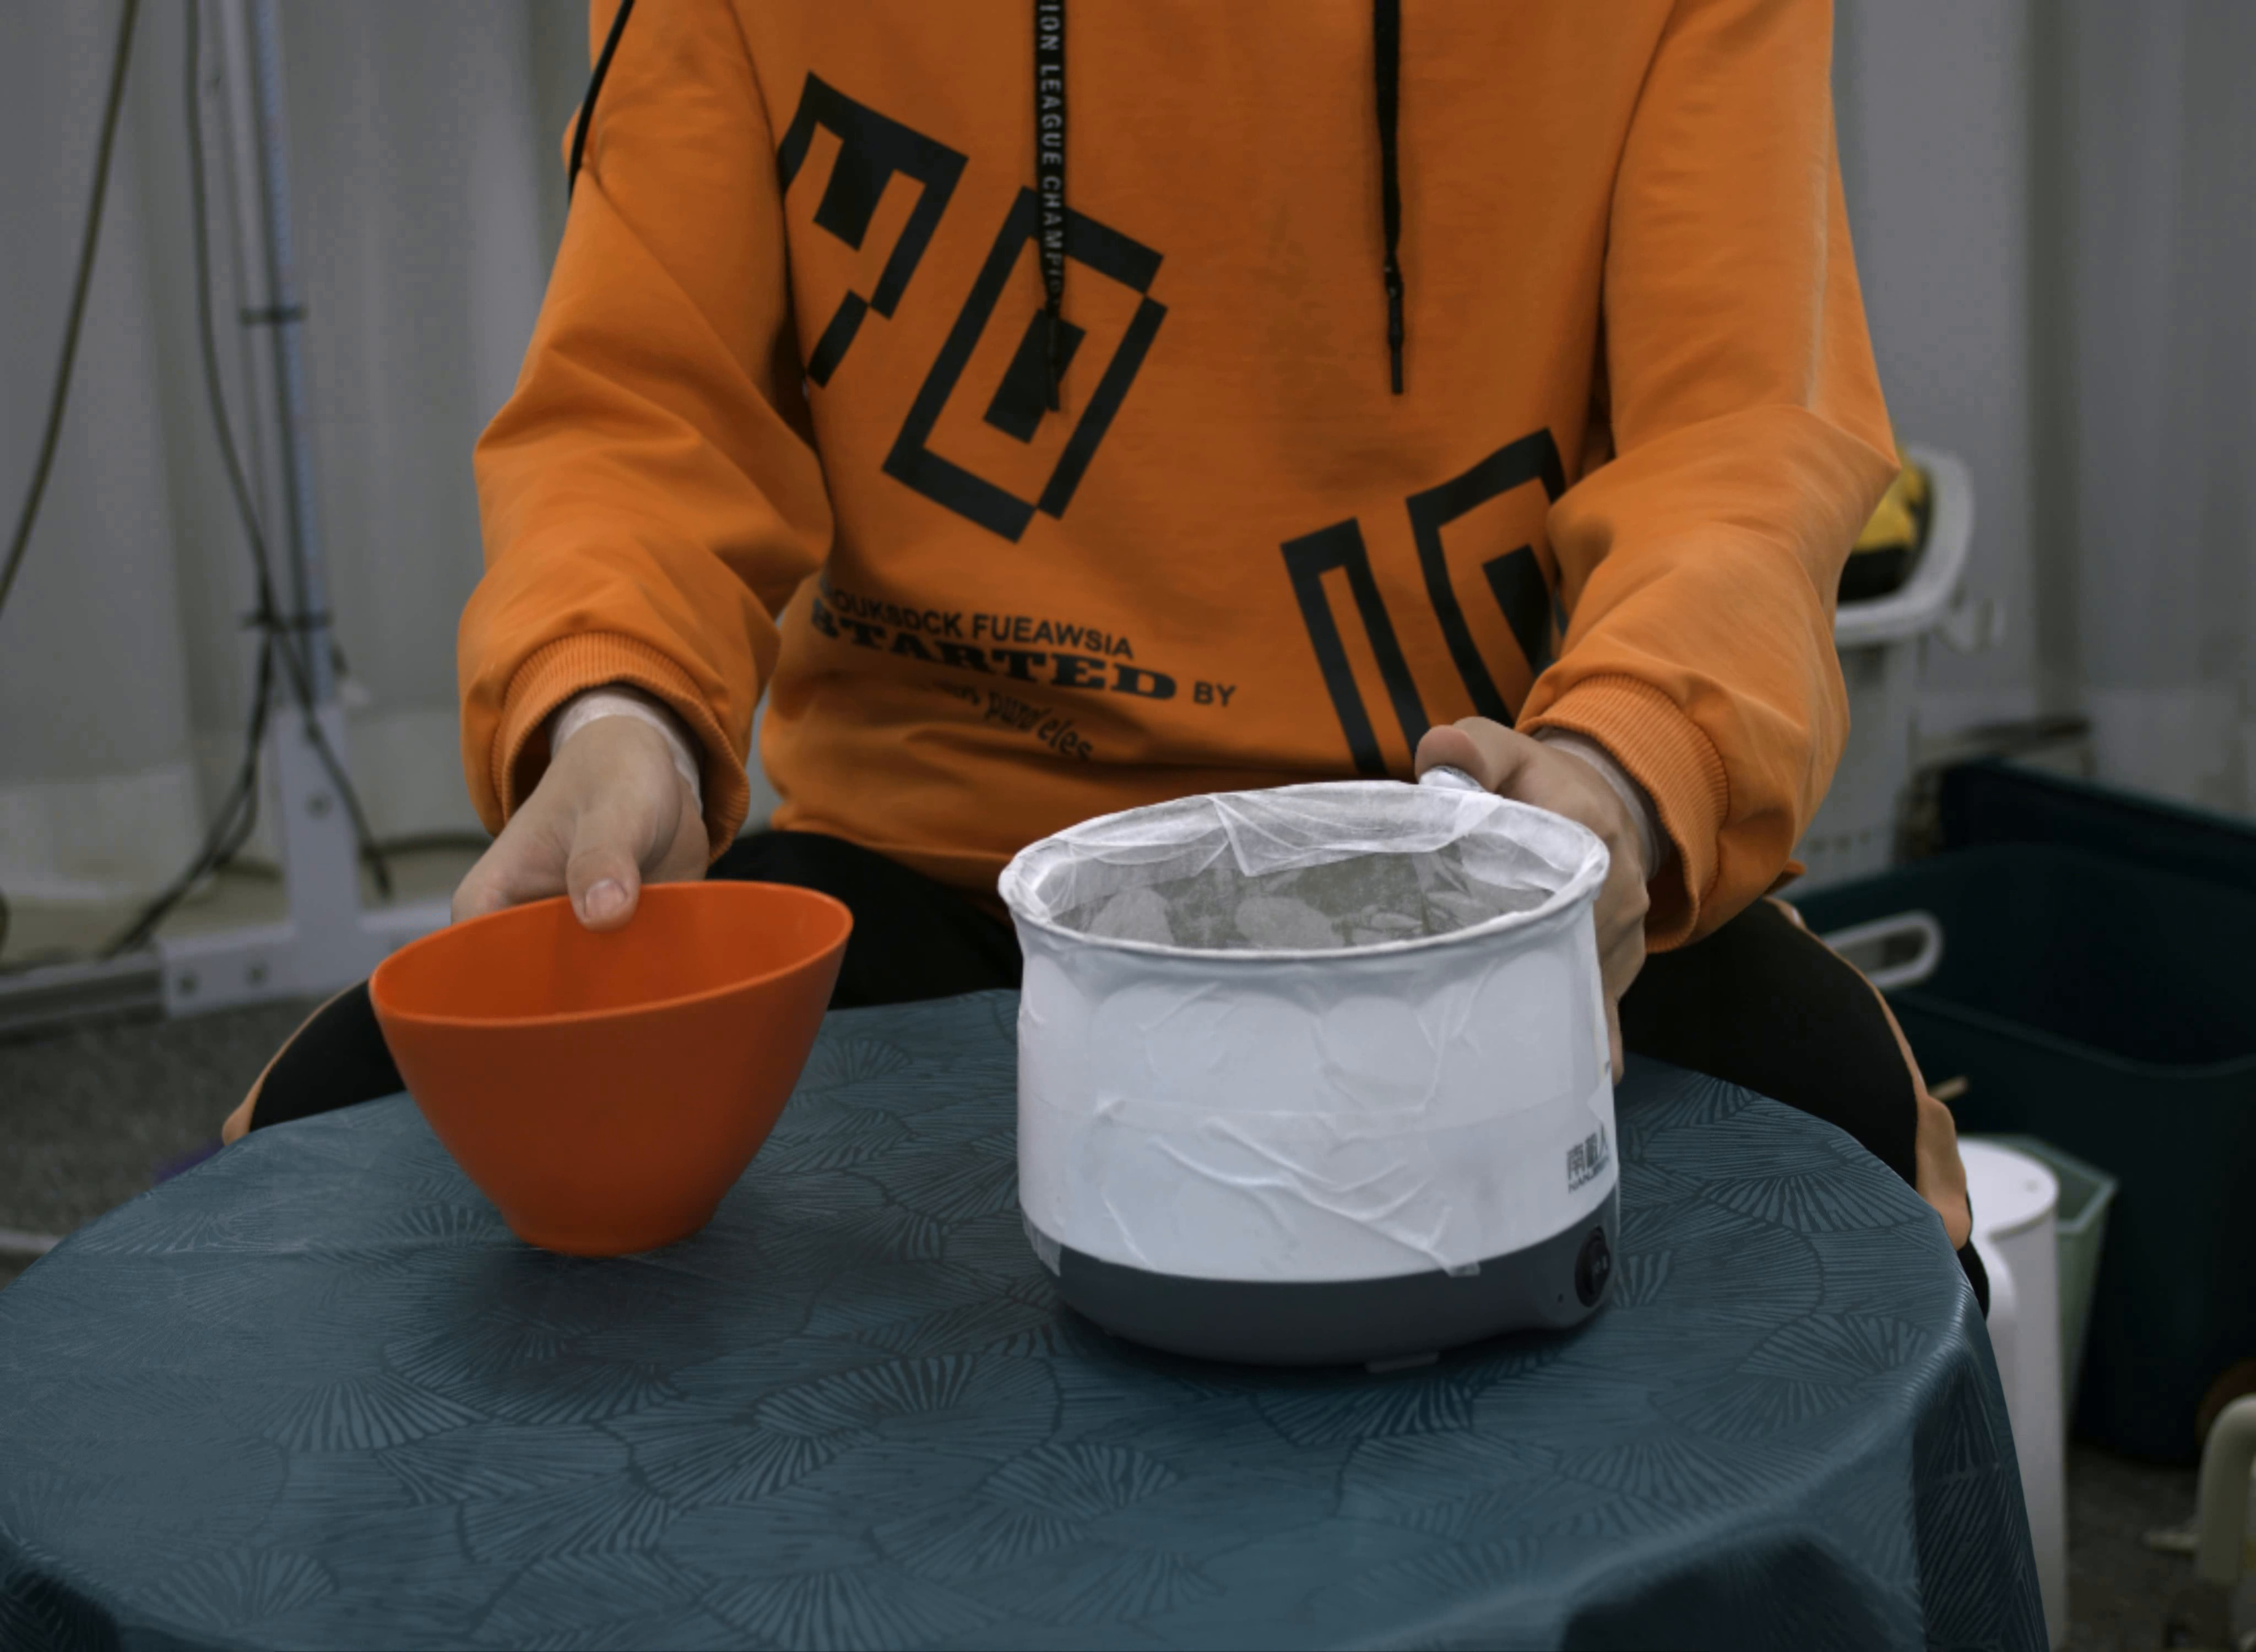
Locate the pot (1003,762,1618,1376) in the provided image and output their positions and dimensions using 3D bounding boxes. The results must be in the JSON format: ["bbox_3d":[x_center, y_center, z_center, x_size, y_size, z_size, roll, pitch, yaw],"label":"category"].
[{"bbox_3d":[0.066,0.065,1.623,0.179,0.136,0.234,5,17,26],"label":"pot"}]

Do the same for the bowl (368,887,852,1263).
[{"bbox_3d":[-0.155,0.077,1.668,0.147,0.104,0.149,-2,20,1],"label":"bowl"}]
